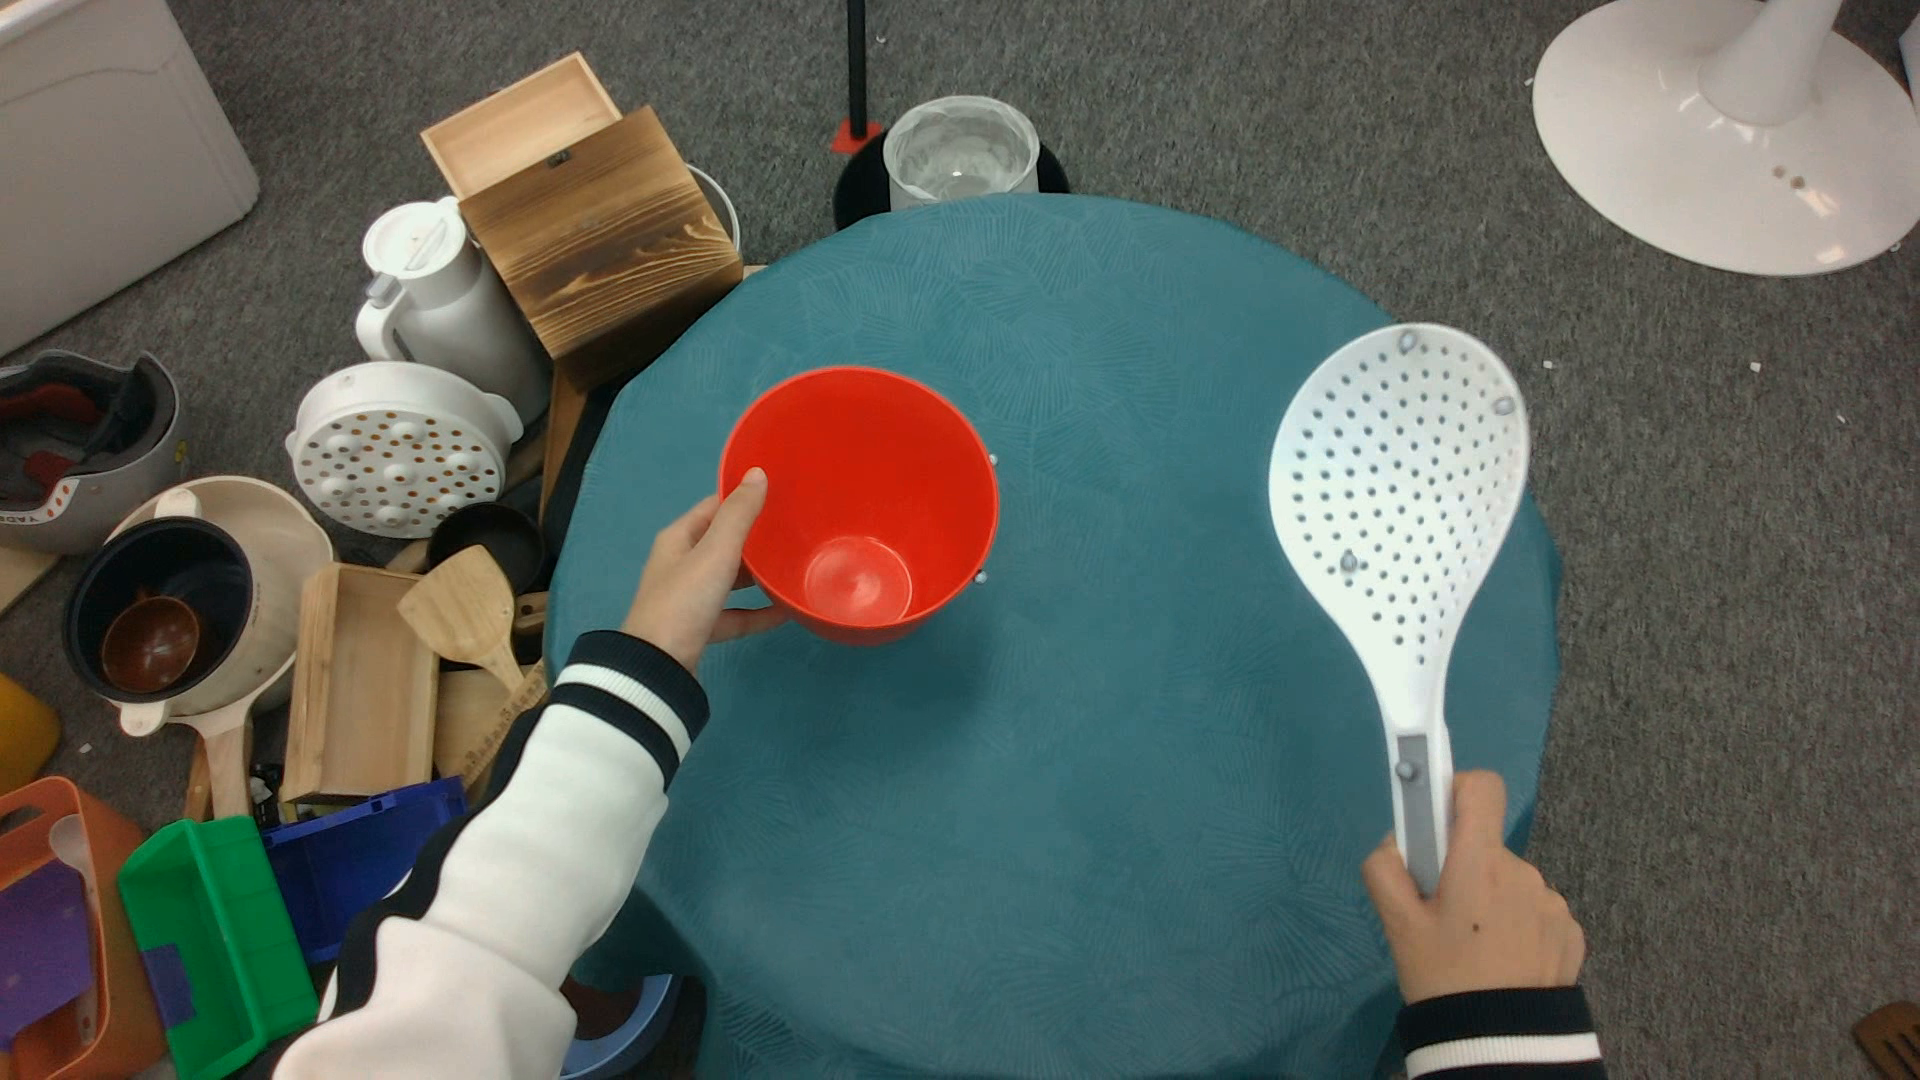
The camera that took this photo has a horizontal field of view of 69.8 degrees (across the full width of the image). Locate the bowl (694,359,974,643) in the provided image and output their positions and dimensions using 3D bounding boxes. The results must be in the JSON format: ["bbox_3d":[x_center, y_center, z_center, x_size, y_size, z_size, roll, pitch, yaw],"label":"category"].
[{"bbox_3d":[-0.072,-0.009,0.752,0.148,0.104,0.148,6,58,-10],"label":"bowl"}]

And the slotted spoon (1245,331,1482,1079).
[{"bbox_3d":[0.197,0.073,0.641,0.046,0.135,0.350,14,70,-35],"label":"slotted spoon"}]
